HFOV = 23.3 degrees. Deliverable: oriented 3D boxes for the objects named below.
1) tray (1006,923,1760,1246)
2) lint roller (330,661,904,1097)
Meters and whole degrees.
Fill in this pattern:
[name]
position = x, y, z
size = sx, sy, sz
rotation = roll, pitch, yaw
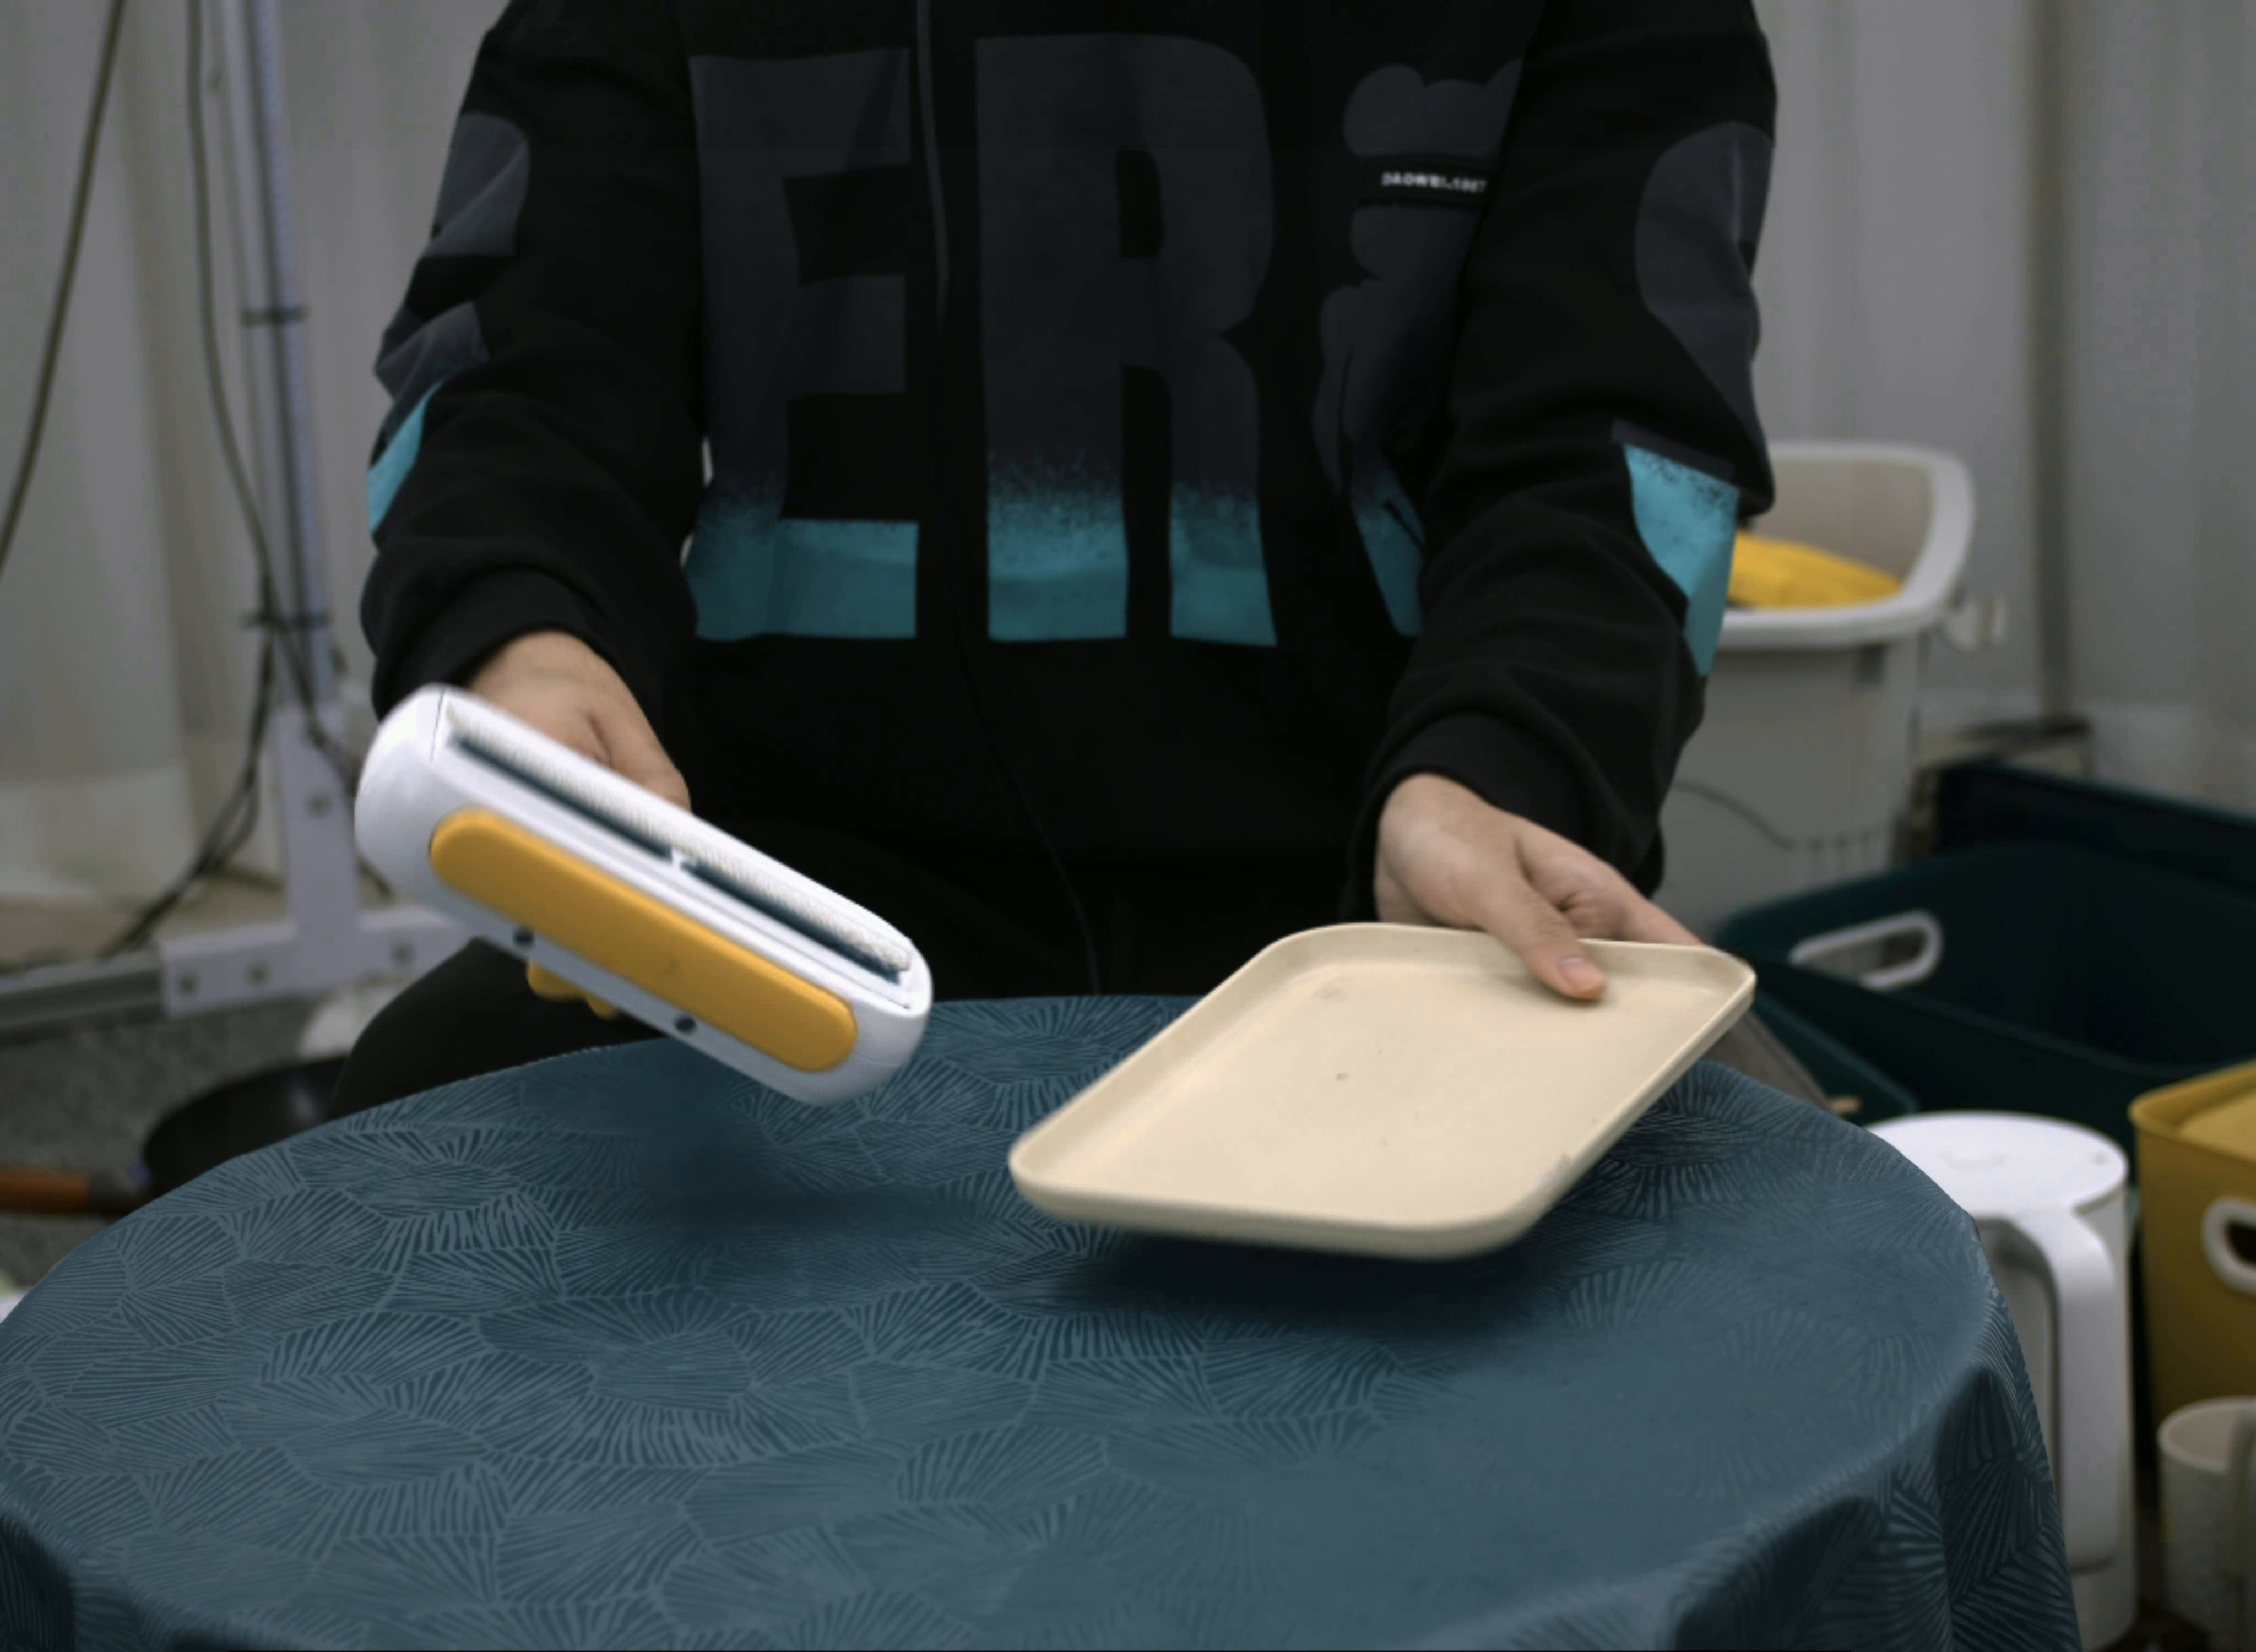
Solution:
[tray]
position = 0.082, 0.078, 1.681
size = 0.171, 0.017, 0.240
rotation = 4, 19, 28
[lint roller]
position = -0.164, 0.006, 1.744
size = 0.192, 0.074, 0.194
rotation = 27, 14, -11
